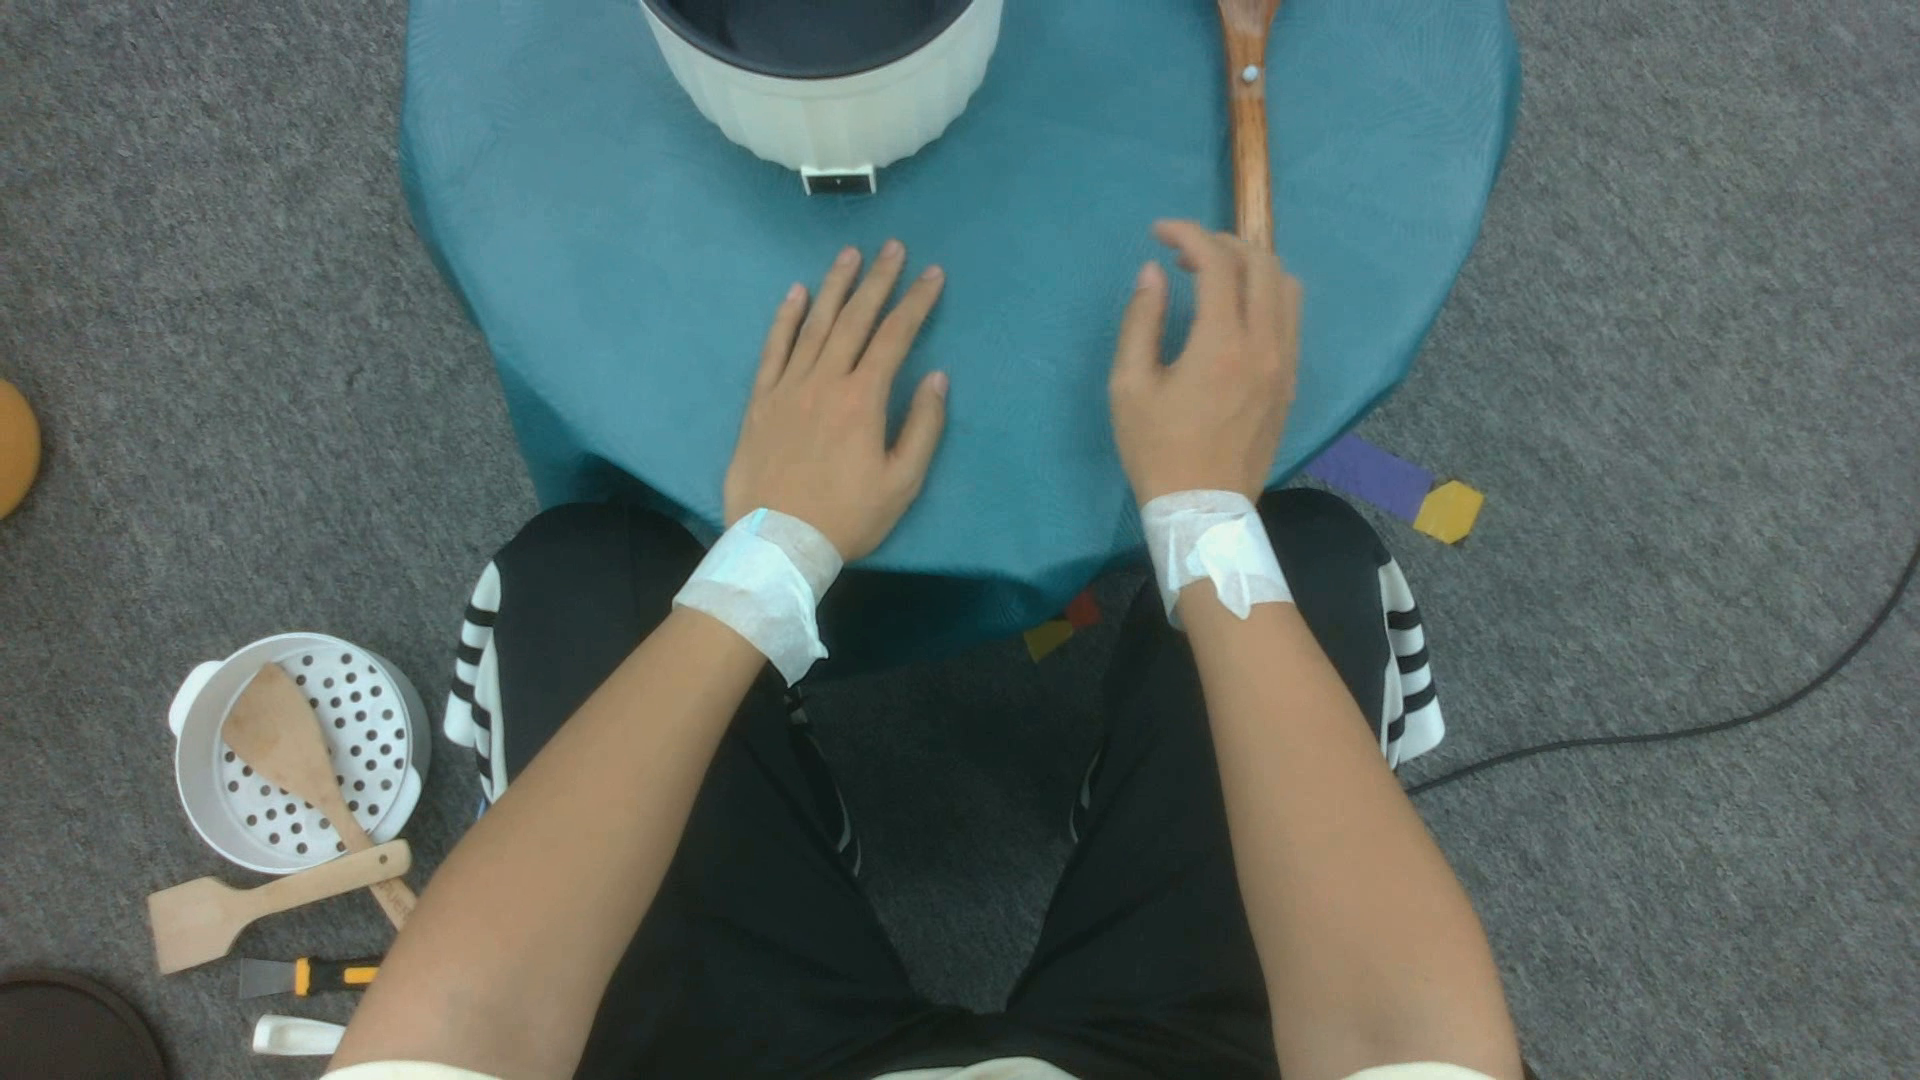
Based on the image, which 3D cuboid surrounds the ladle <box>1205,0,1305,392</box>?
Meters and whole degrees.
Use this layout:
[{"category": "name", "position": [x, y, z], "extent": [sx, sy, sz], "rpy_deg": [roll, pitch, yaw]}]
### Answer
[{"category": "ladle", "position": [0.157, -0.219, 0.718], "extent": [0.082, 0.076, 0.274], "rpy_deg": [2, 80, -2]}]

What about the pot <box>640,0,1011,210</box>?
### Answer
[{"category": "pot", "position": [-0.065, -0.280, 0.698], "extent": [0.240, 0.142, 0.190], "rpy_deg": [-3, 84, -1]}]
